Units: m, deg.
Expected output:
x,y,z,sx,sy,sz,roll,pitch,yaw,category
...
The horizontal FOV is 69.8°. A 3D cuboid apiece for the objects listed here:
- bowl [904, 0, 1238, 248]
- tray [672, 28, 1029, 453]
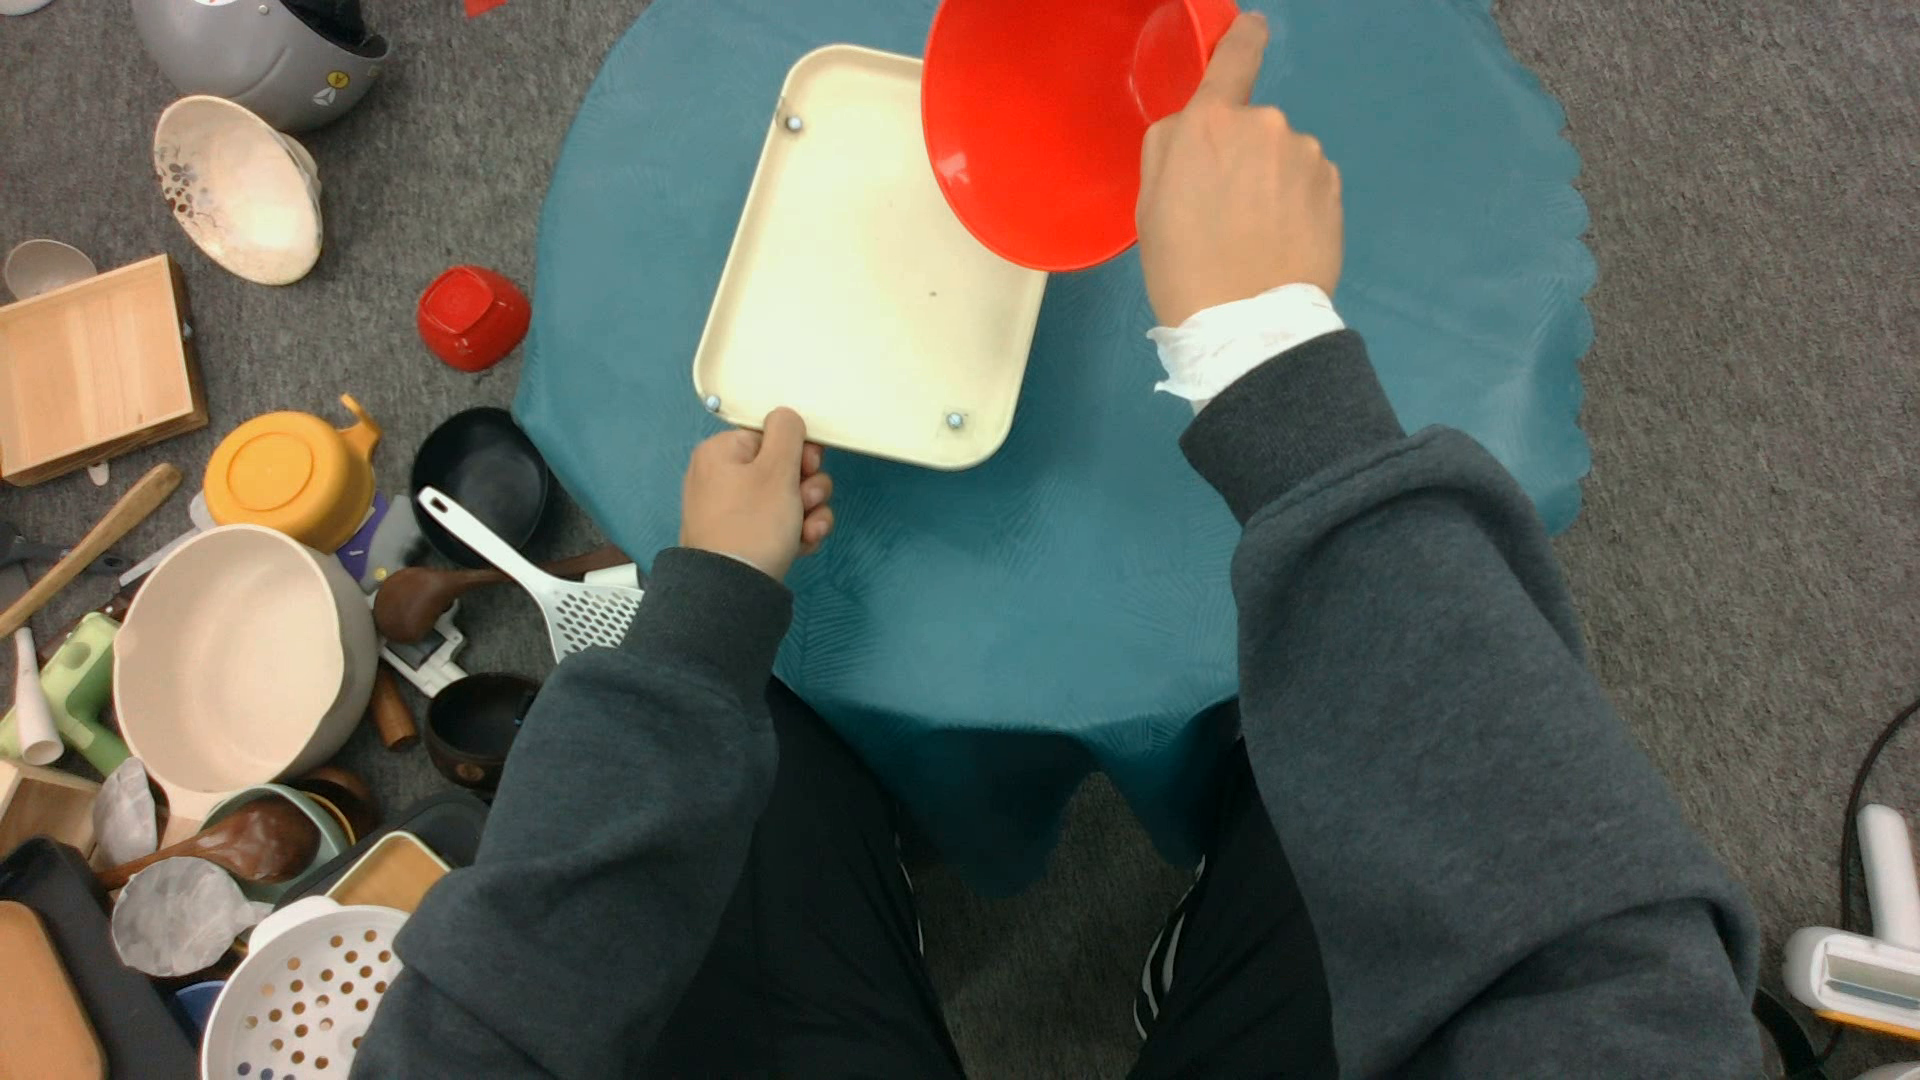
x,y,z,sx,sy,sz,roll,pitch,yaw,category
0.061,-0.214,0.631,0.105,0.147,0.148,-21,67,-41,bowl
-0.048,-0.165,0.744,0.171,0.017,0.240,12,72,3,tray
